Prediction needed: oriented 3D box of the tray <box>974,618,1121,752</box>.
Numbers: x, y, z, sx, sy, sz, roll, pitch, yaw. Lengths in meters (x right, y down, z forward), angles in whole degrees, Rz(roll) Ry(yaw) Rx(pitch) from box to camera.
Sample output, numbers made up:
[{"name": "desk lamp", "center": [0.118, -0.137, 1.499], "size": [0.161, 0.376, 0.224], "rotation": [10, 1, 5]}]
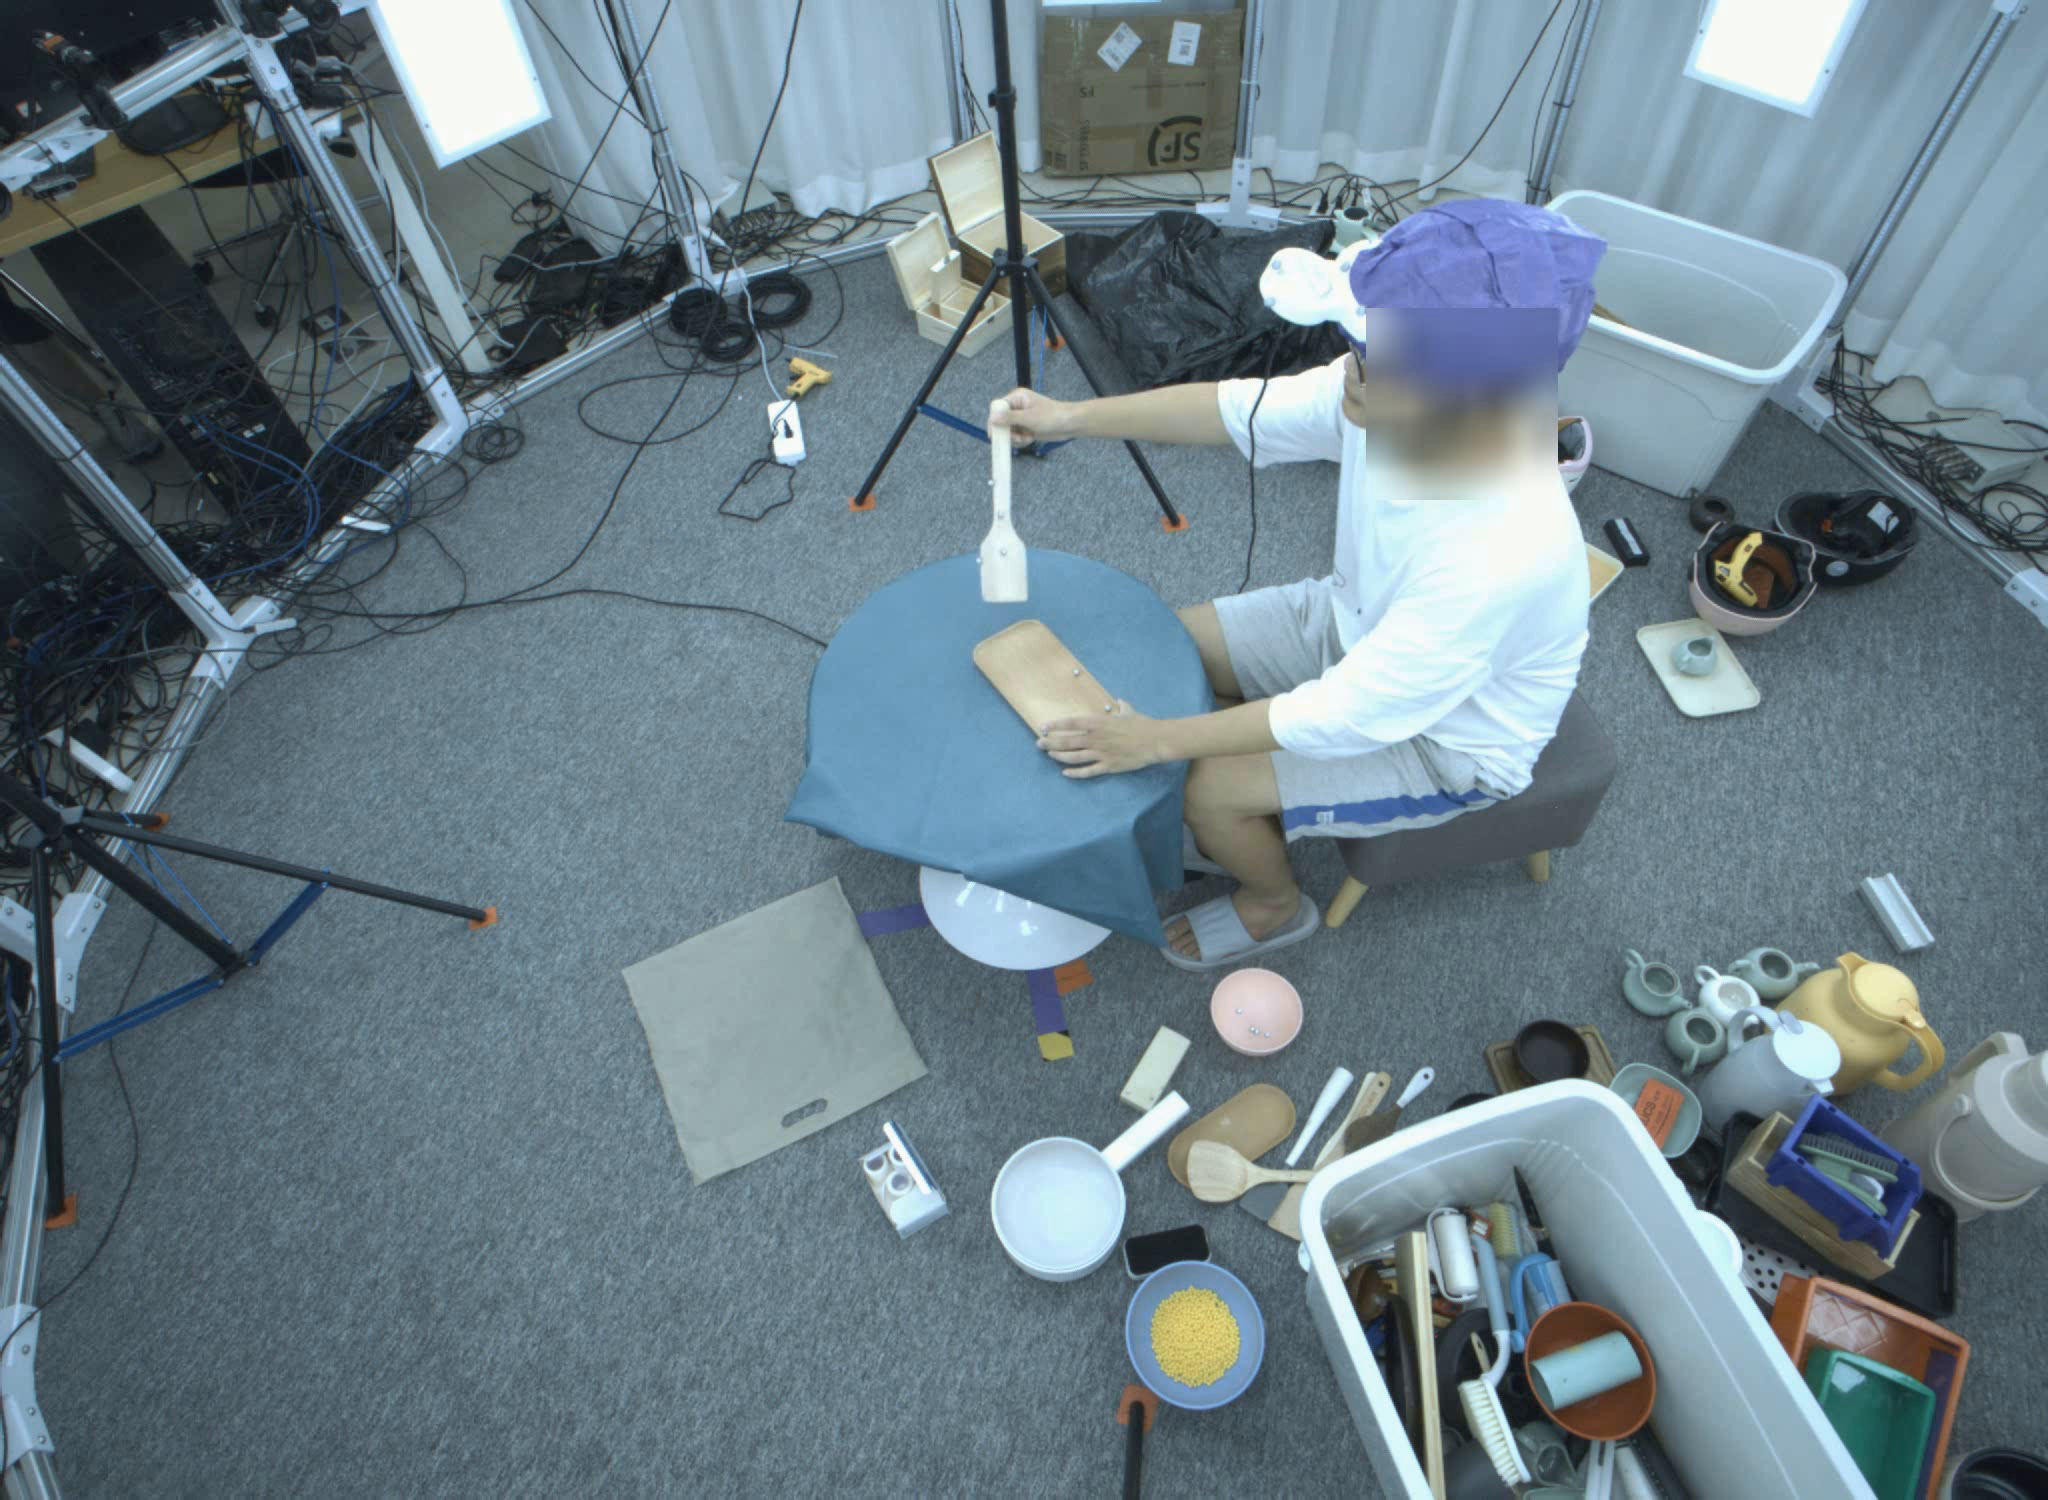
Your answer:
[{"name": "tray", "center": [0.033, -0.099, 1.846], "size": [0.132, 0.023, 0.246], "rotation": [-27, 57, -19]}]

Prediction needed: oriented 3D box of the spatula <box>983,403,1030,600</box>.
[{"name": "spatula", "center": [-0.030, -0.366, 1.783], "size": [0.073, 0.010, 0.294], "rotation": [-4, 98, -21]}]
